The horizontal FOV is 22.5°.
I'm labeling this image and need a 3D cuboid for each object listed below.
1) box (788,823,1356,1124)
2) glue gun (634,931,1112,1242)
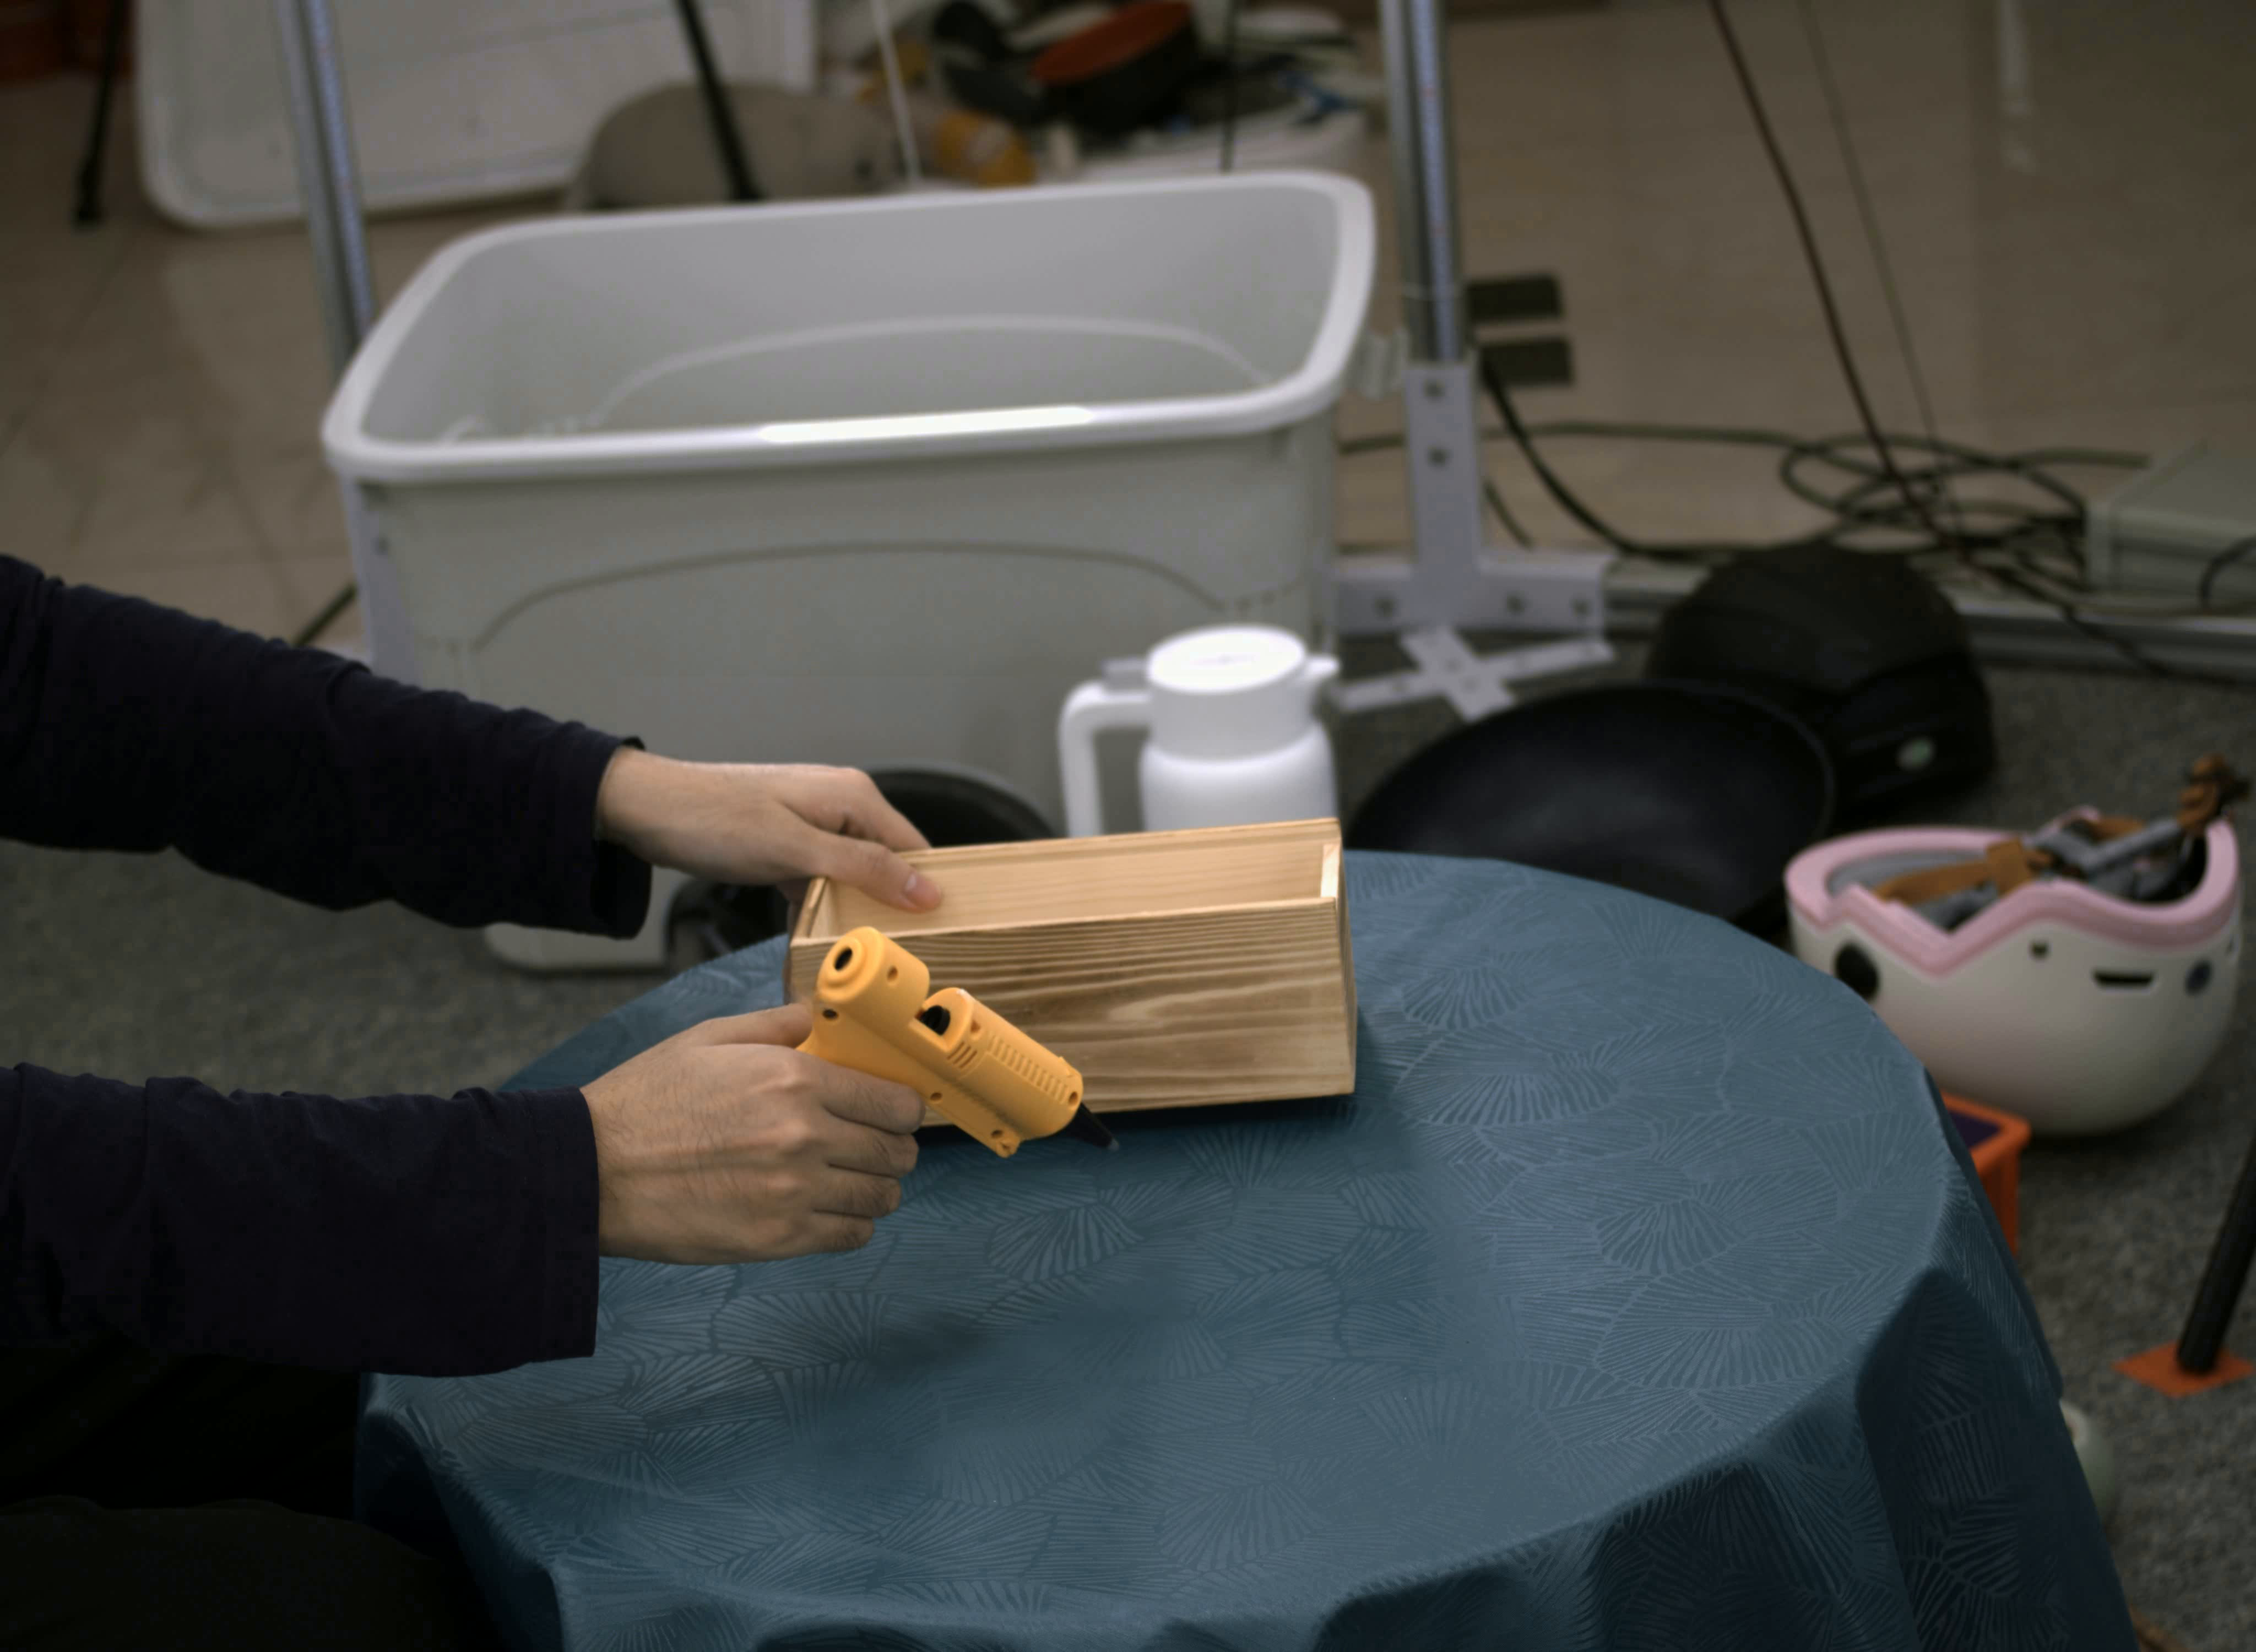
[{"bbox_3d":[-0.019,0.057,2.218,0.211,0.081,0.106,-4,18,5],"label":"box"},{"bbox_3d":[-0.083,0.116,2.055,0.153,0.134,0.030,30,21,-37],"label":"glue gun"}]
